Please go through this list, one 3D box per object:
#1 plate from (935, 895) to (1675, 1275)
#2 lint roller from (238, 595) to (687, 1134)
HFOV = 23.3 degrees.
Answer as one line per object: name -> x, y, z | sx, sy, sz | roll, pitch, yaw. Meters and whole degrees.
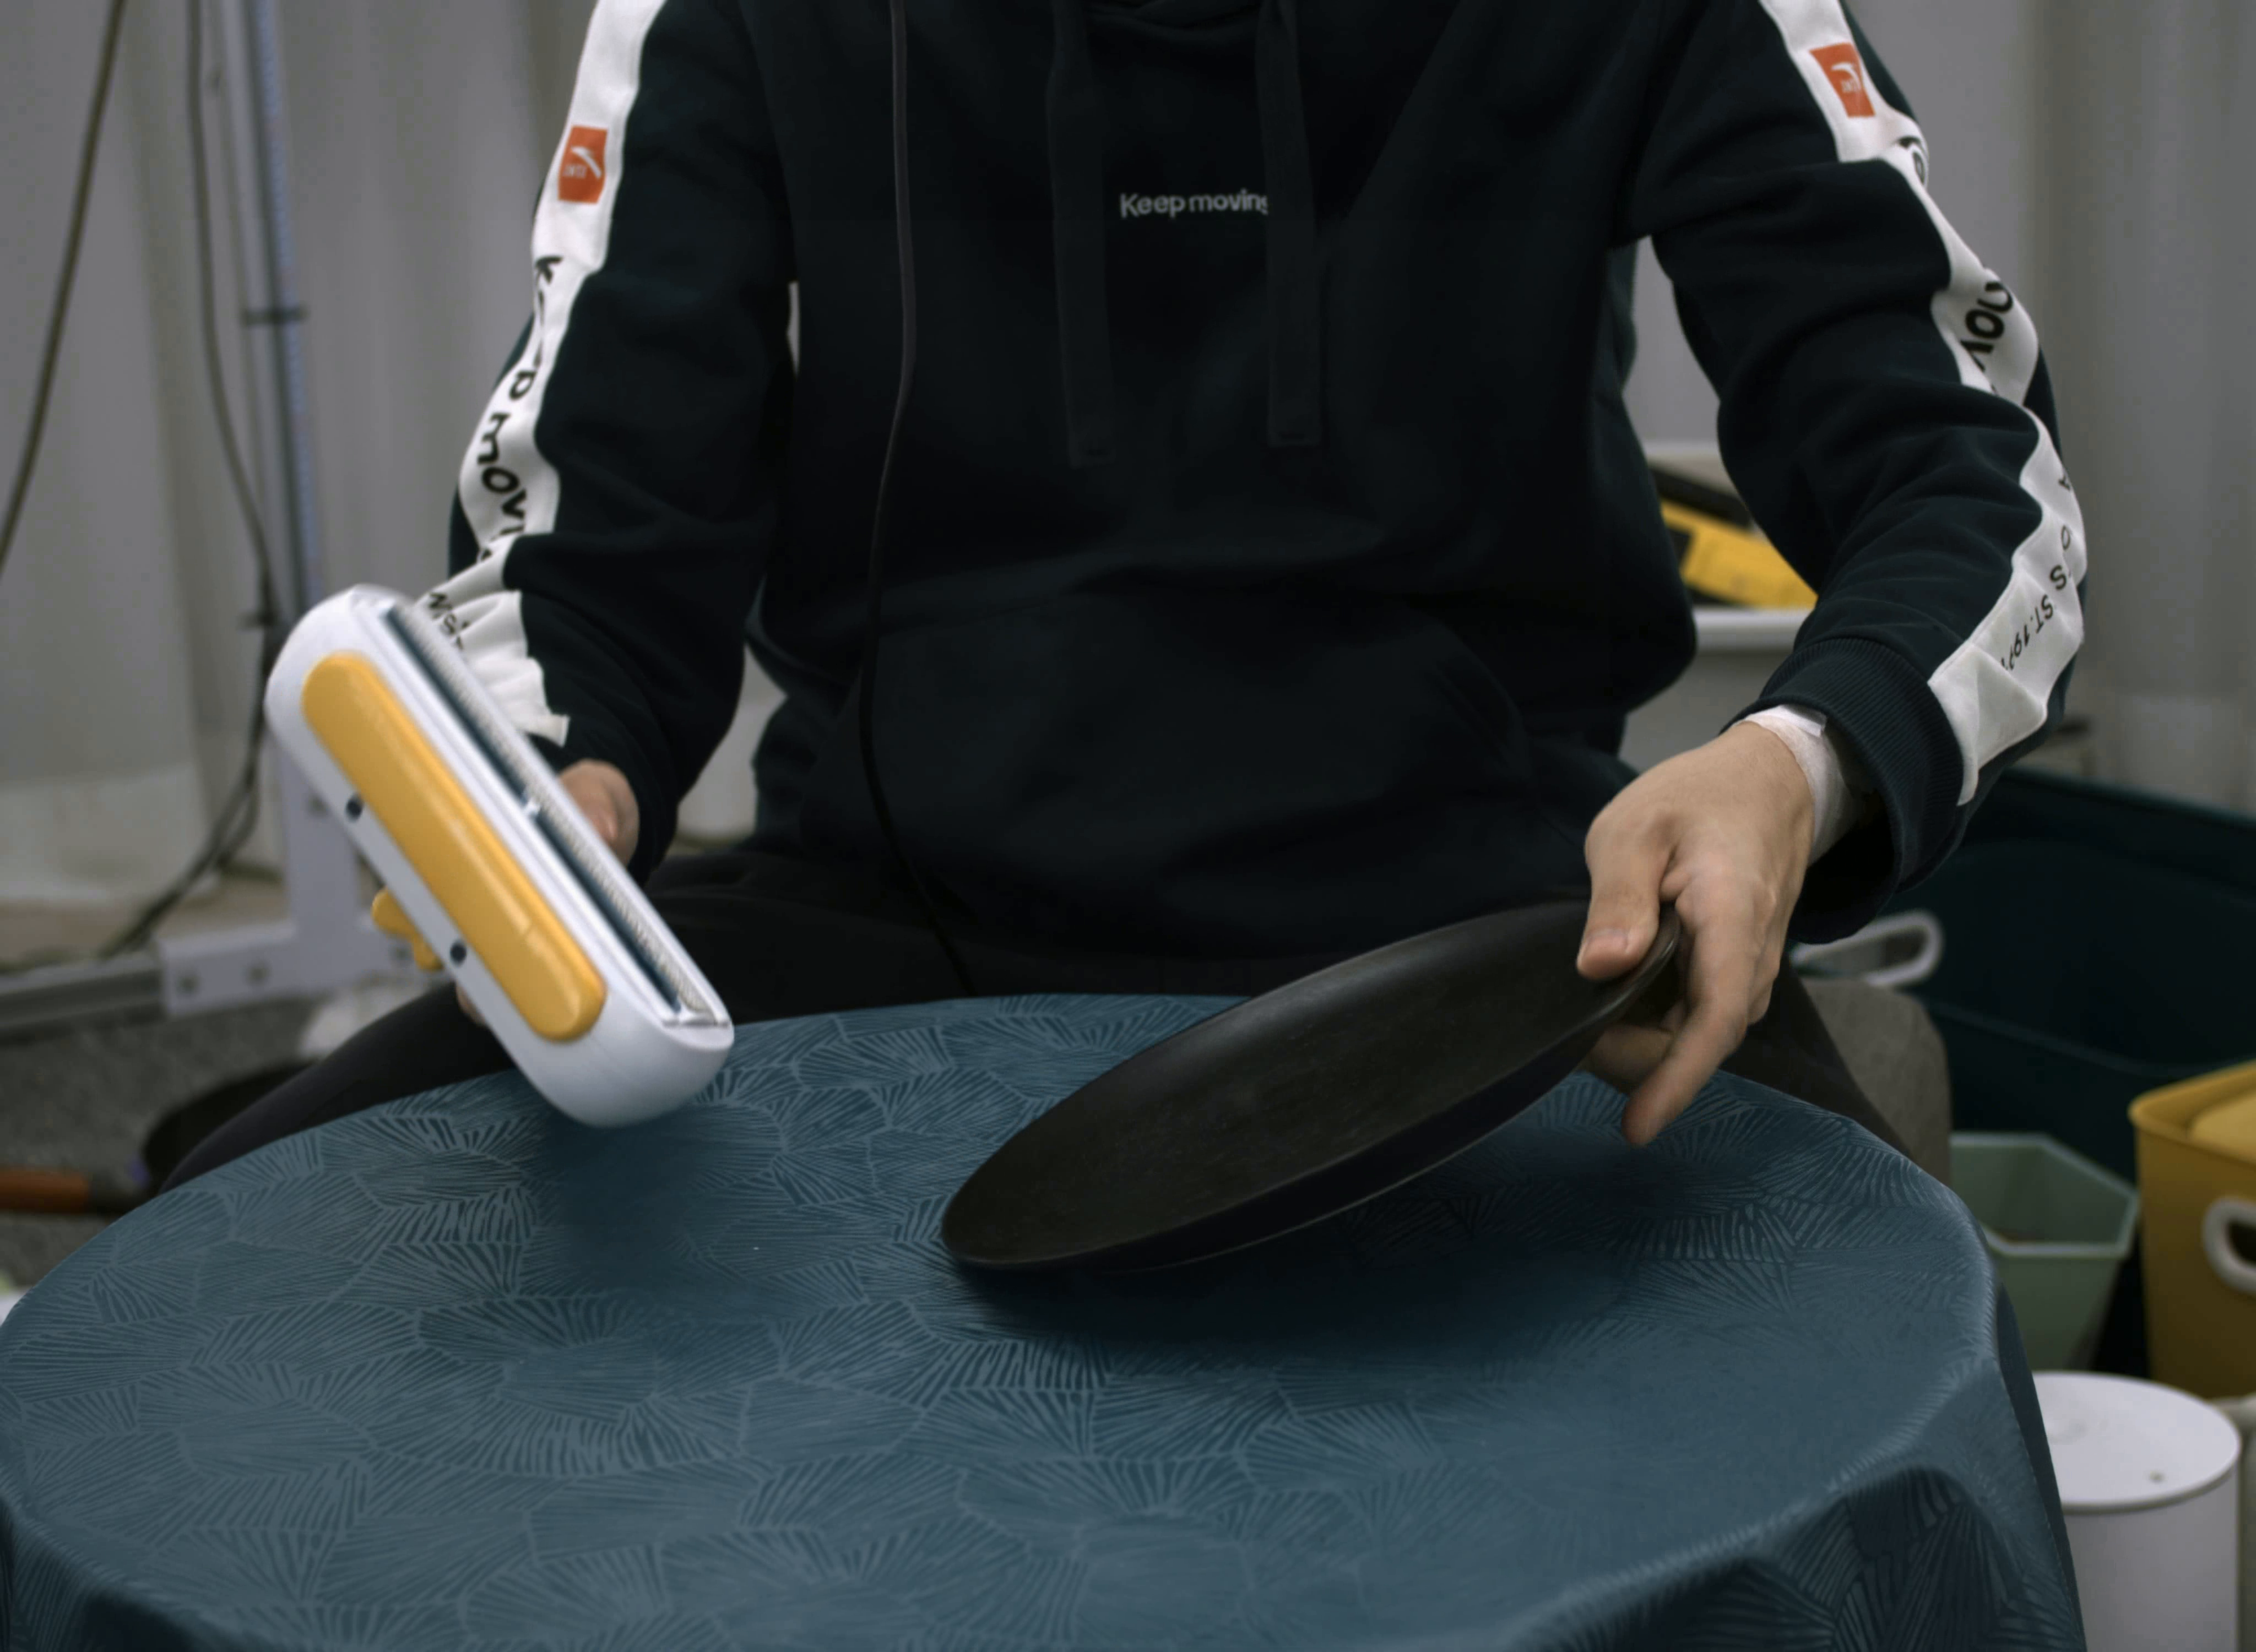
plate -> 0.056, 0.084, 1.656 | 0.244, 0.023, 0.245 | -23, 11, 4
lint roller -> -0.197, 0.035, 1.722 | 0.074, 0.195, 0.190 | -39, -23, -5
